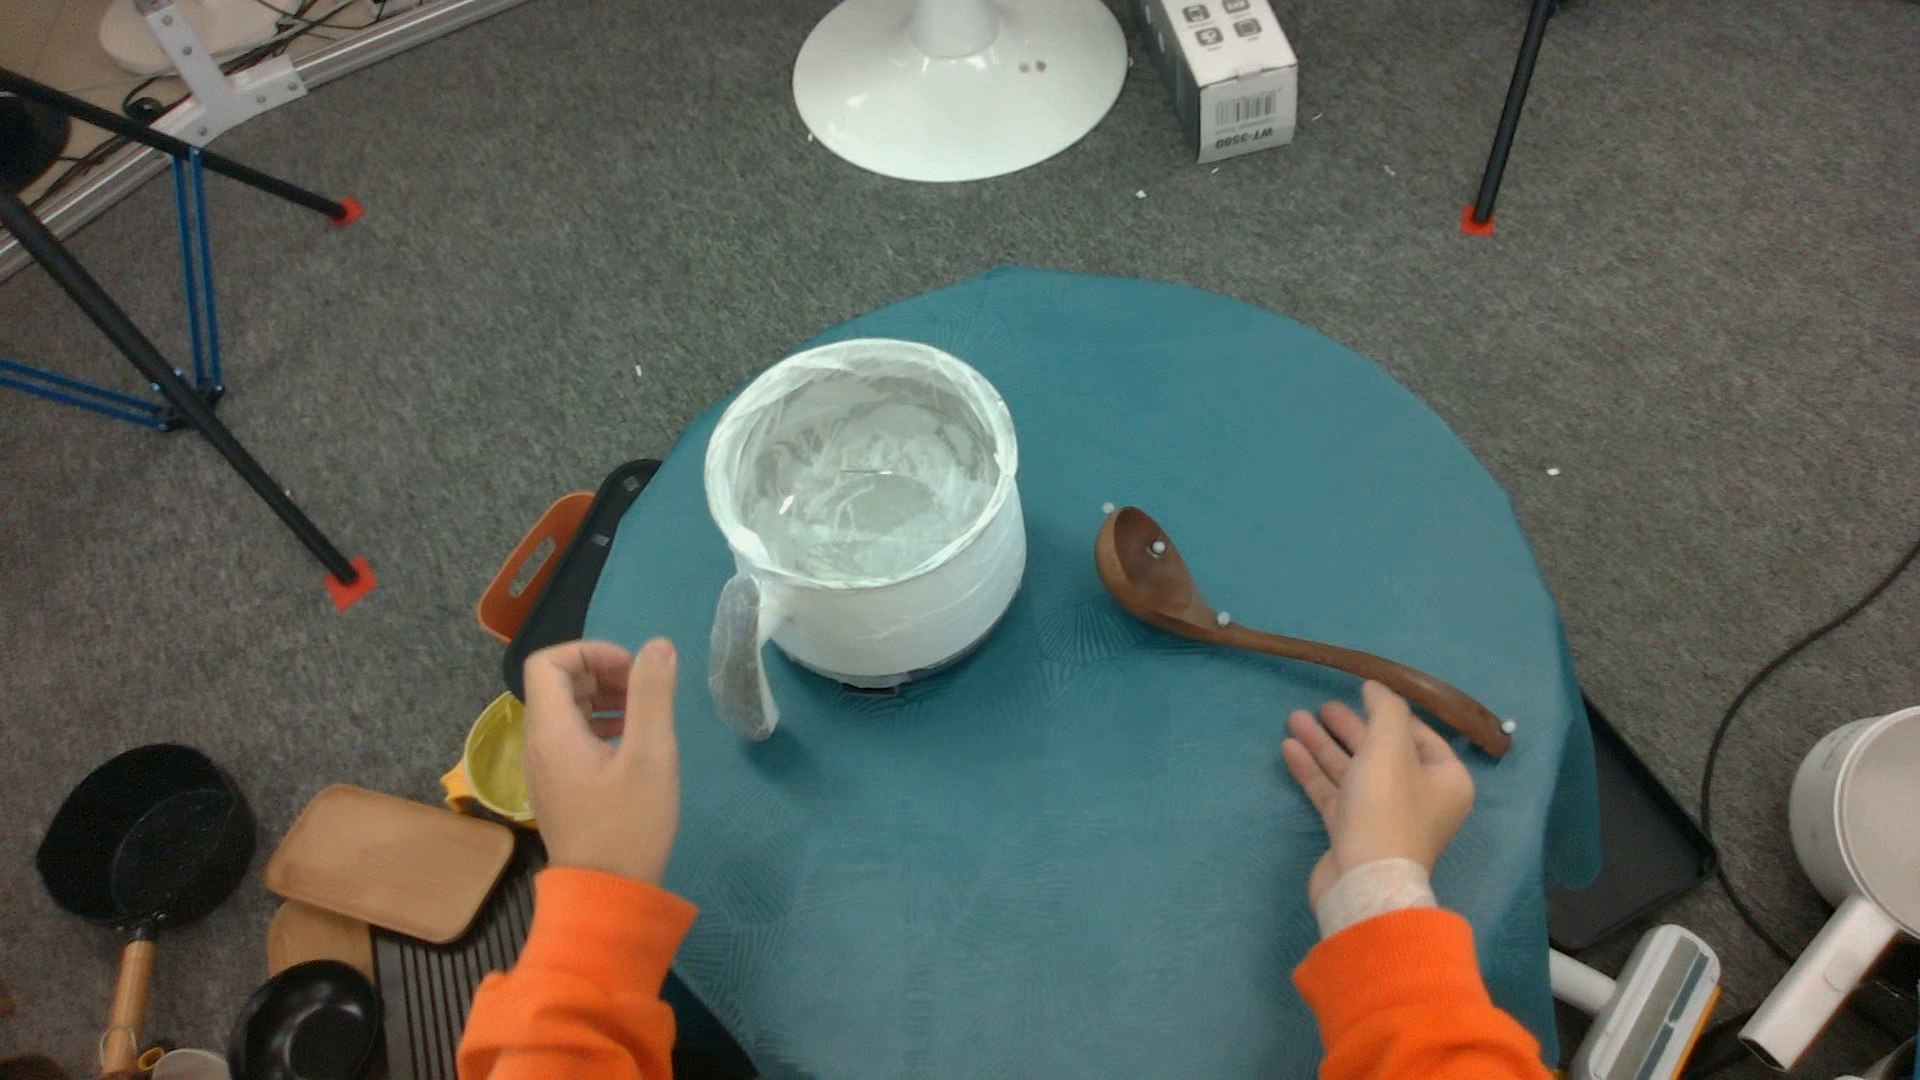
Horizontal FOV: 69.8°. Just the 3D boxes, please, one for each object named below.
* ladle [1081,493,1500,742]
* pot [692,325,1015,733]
[{"bbox_3d":[0.191,0.043,0.801,0.260,0.065,0.077,21,36,19],"label":"ladle"},{"bbox_3d":[-0.073,0.002,0.808,0.178,0.136,0.234,27,62,22],"label":"pot"}]
